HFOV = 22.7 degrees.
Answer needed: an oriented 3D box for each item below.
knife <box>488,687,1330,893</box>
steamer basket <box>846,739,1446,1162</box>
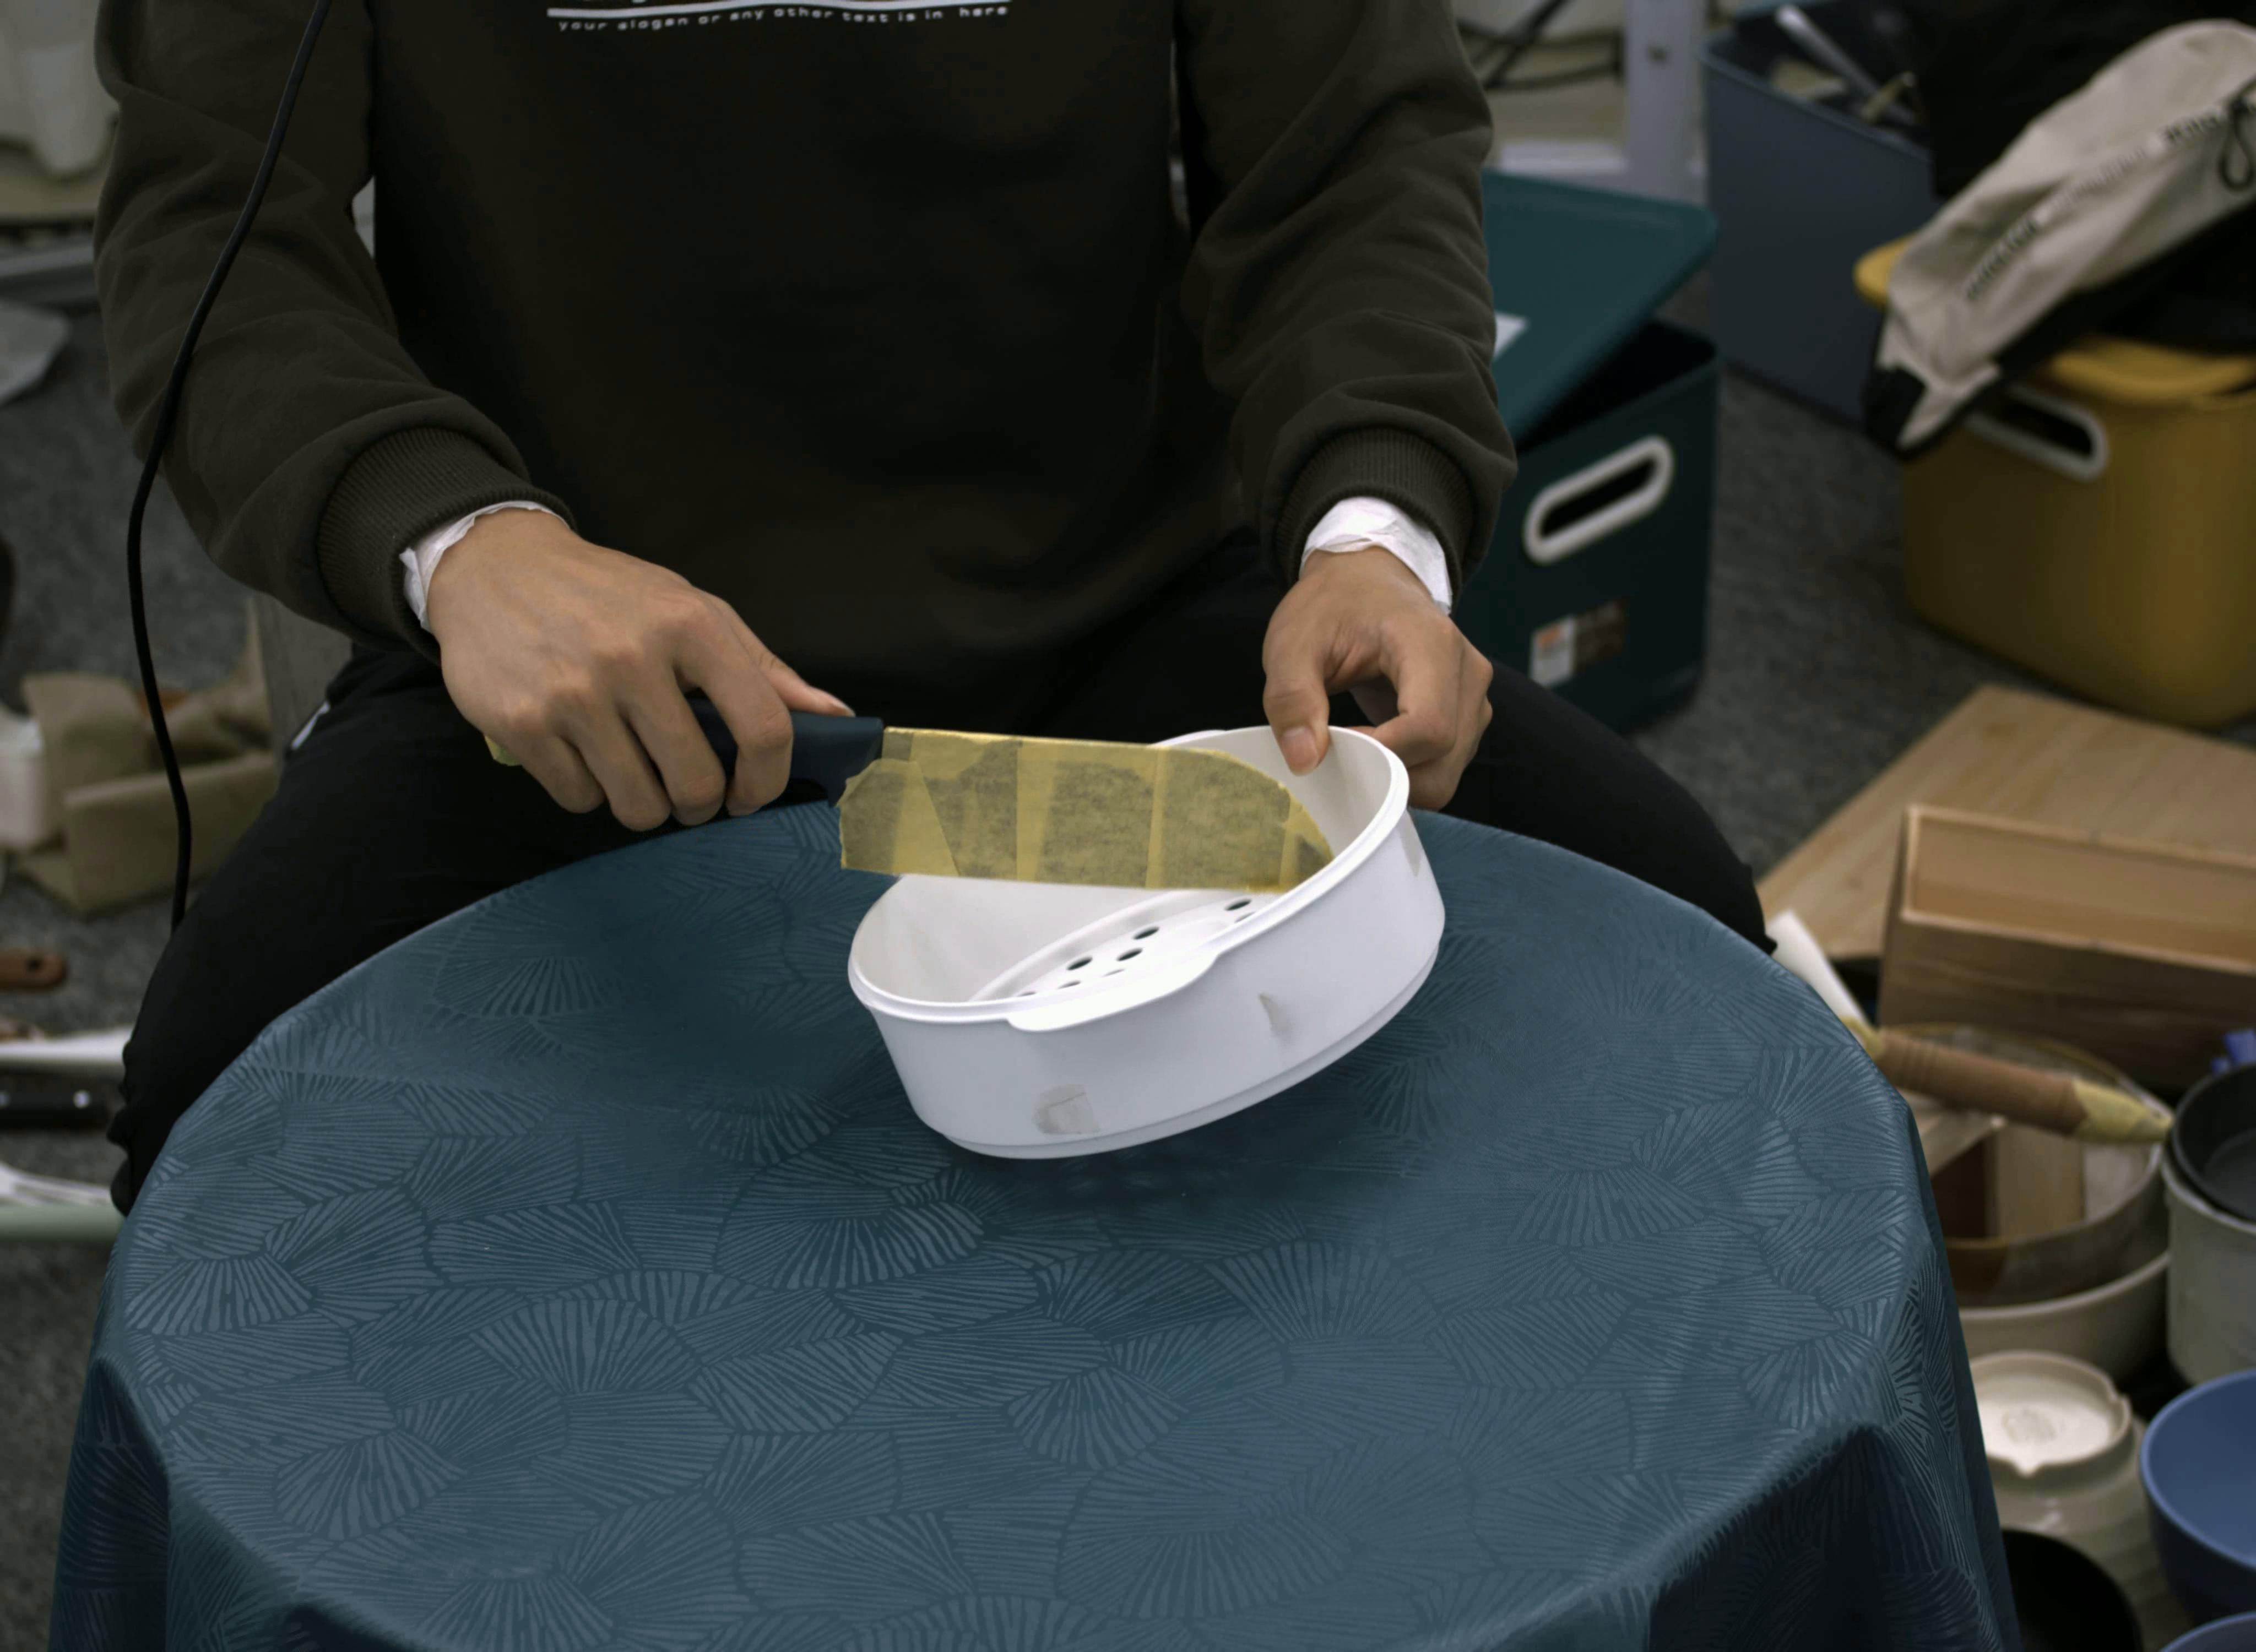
[{"bbox_3d":[-0.073,-0.010,1.906,0.288,0.079,0.028,7,44,-1],"label":"knife"},{"bbox_3d":[0.009,0.043,1.894,0.200,0.069,0.233,-16,19,10],"label":"steamer basket"}]
